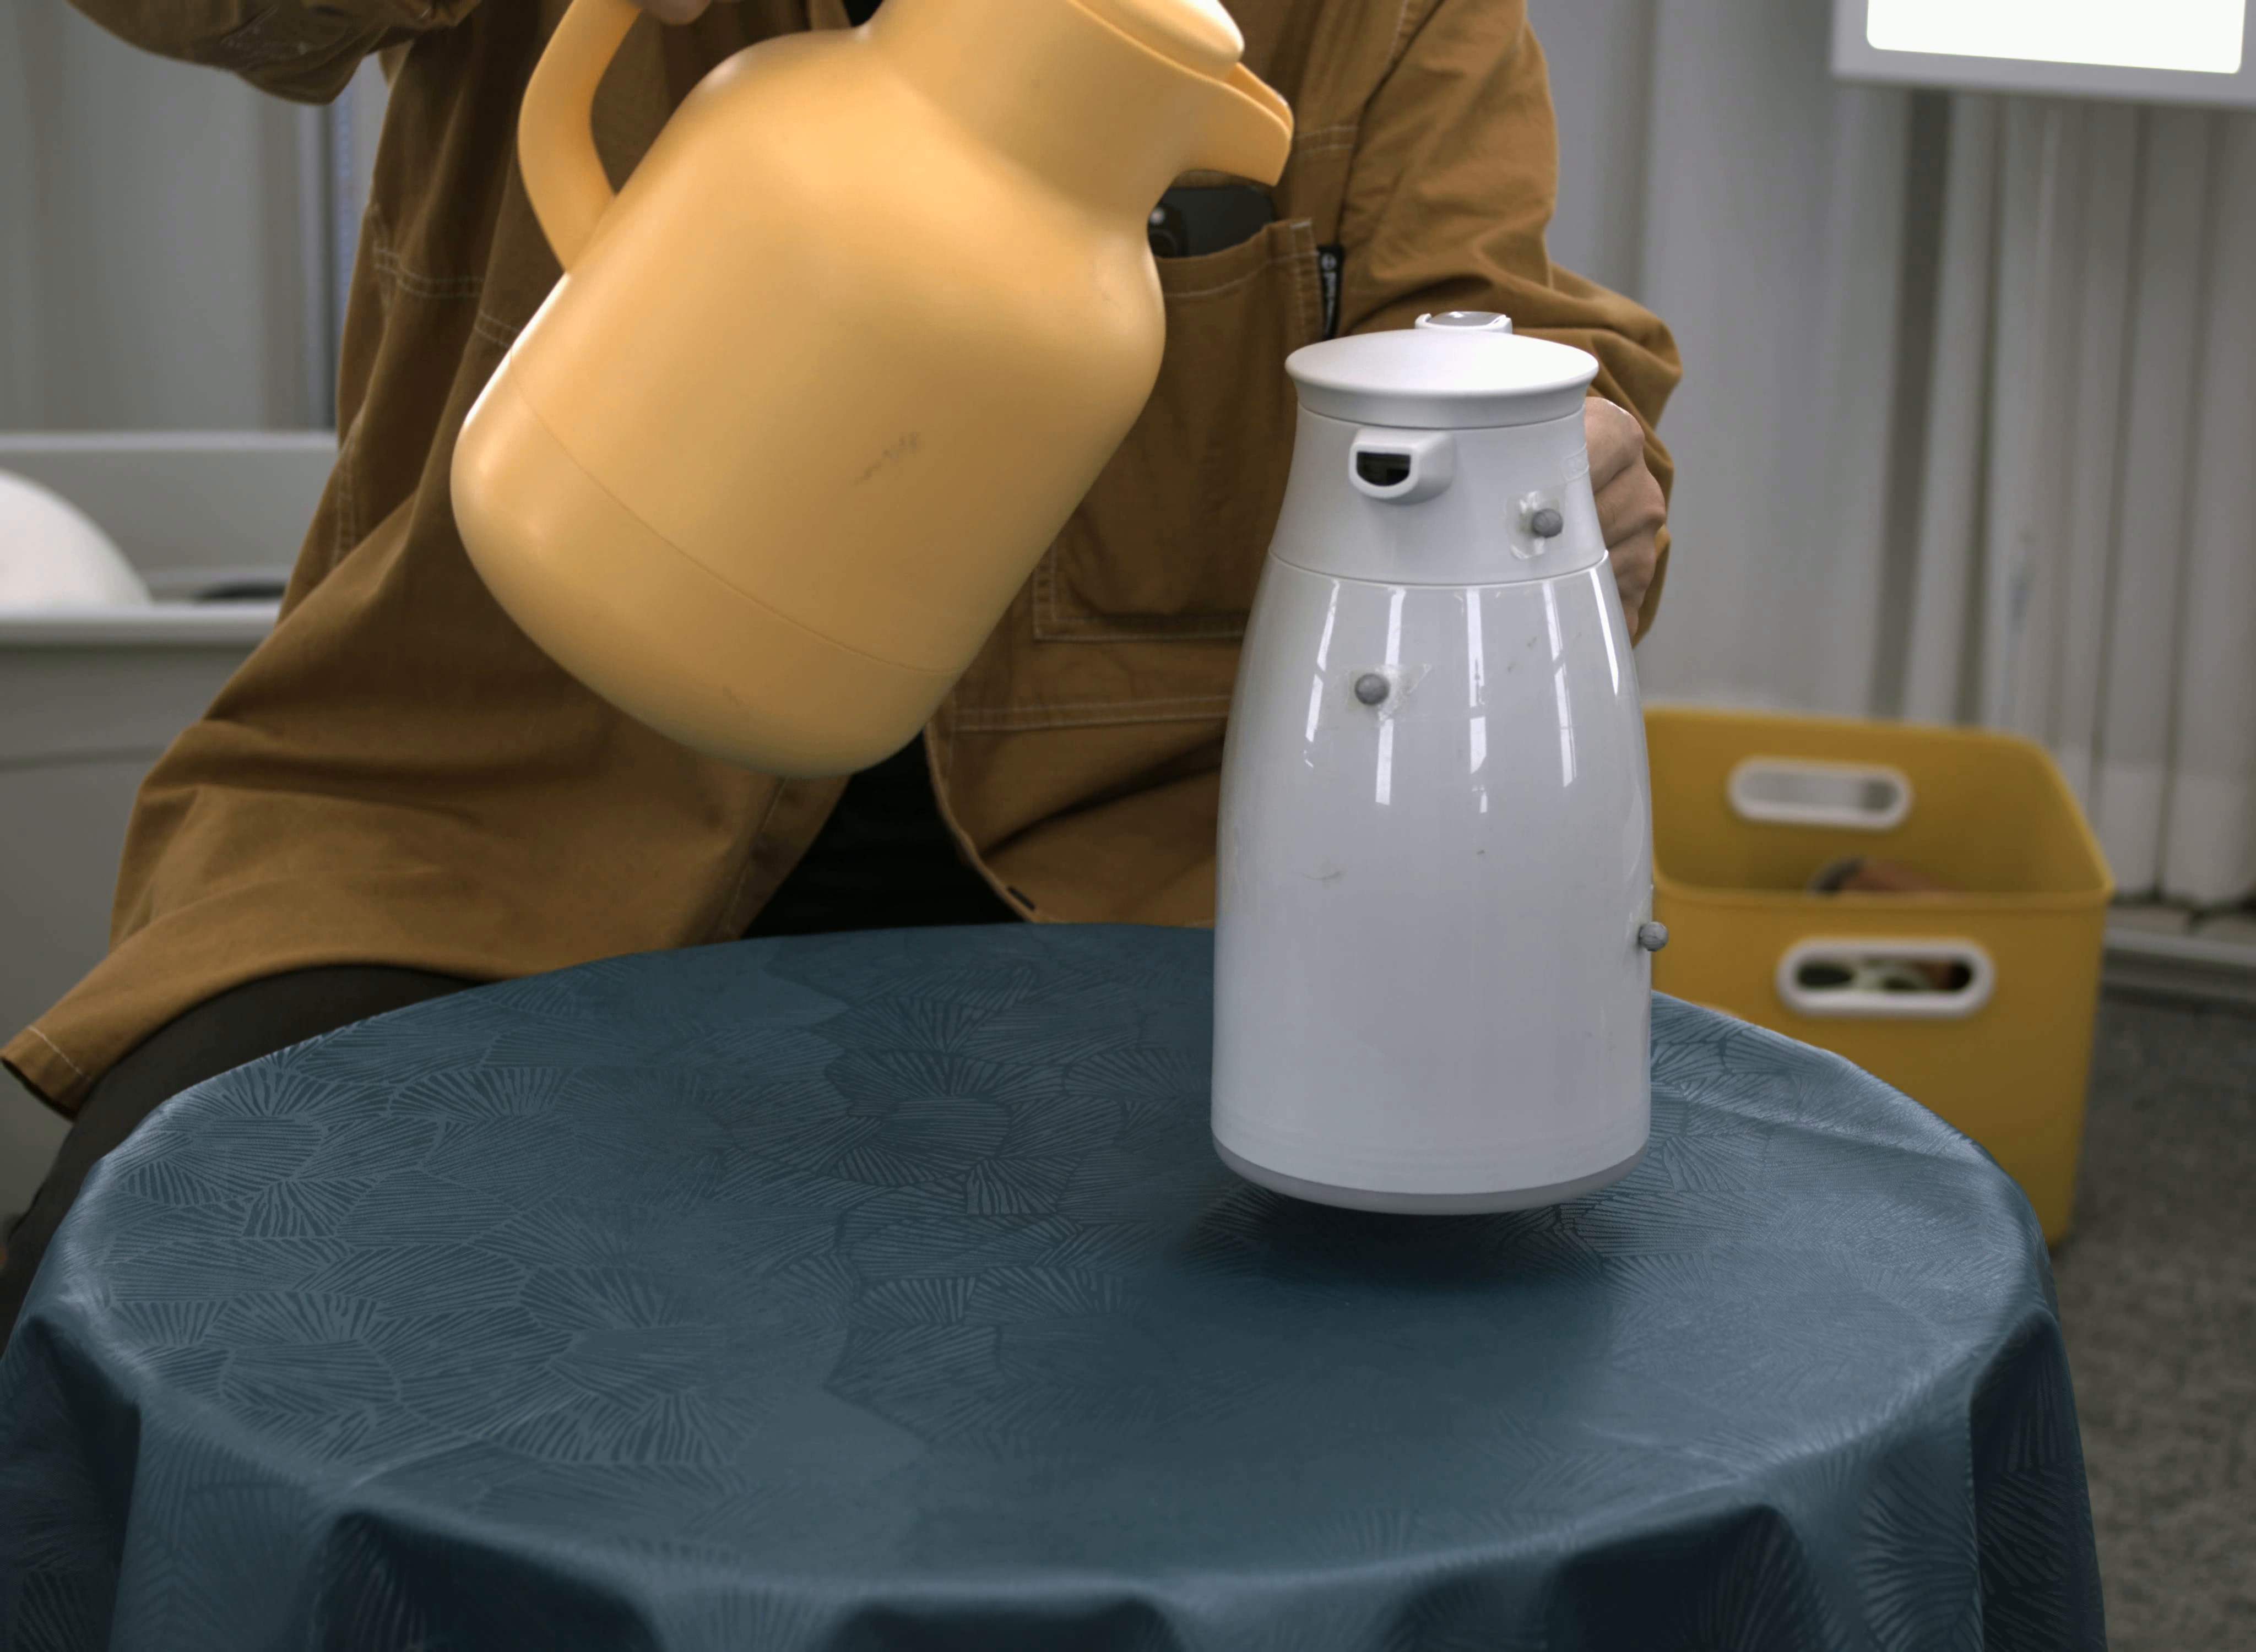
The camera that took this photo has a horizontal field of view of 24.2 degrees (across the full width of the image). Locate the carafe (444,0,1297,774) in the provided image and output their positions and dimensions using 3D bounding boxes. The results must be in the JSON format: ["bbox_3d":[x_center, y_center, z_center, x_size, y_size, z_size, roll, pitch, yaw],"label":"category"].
[{"bbox_3d":[-0.088,-0.163,1.519,0.203,0.261,0.163,36,17,-7],"label":"carafe"}]

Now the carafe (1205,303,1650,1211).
[{"bbox_3d":[0.095,-0.029,1.574,0.131,0.250,0.168,5,16,16],"label":"carafe"}]
